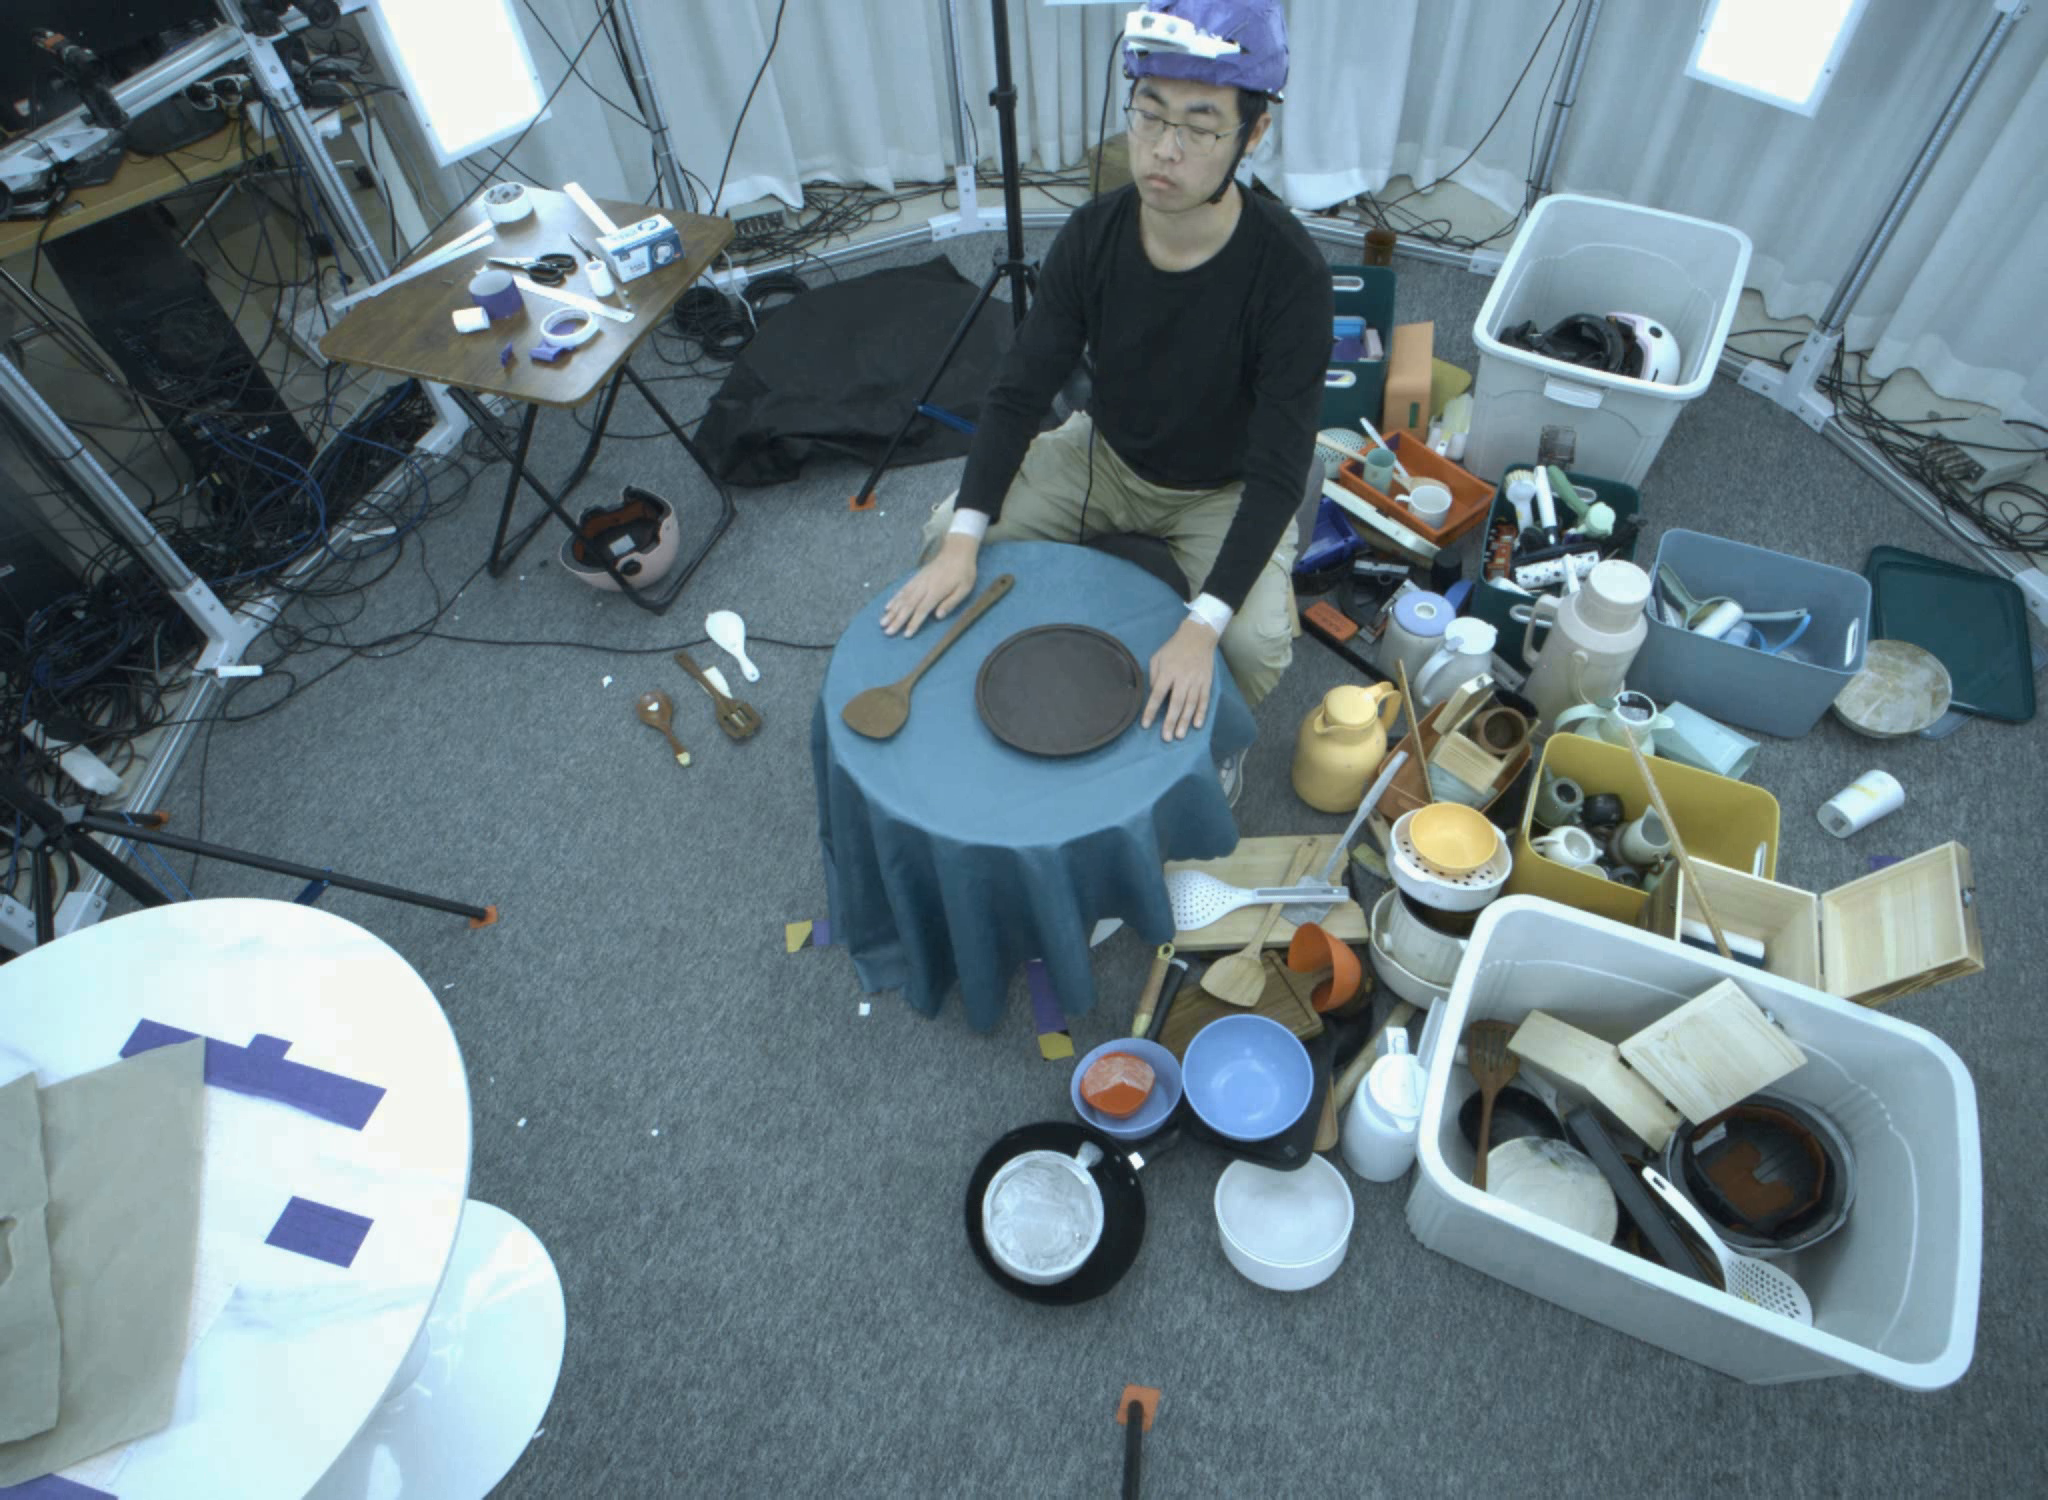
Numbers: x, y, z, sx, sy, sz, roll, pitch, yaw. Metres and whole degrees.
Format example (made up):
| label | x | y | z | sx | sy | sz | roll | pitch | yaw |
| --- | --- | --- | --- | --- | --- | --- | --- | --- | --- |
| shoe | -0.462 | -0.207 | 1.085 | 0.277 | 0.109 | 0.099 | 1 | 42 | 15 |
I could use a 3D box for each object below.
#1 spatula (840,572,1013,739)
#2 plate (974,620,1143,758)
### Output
| label | x | y | z | sx | sy | sz | roll | pitch | yaw |
| --- | --- | --- | --- | --- | --- | --- | --- | --- | --- |
| spatula | -0.135 | -0.156 | 1.894 | 0.094 | 0.016 | 0.387 | 29 | 61 | 20 |
| plate | 0.052 | -0.092 | 1.838 | 0.254 | 0.029 | 0.252 | -1 | 55 | 3 |
